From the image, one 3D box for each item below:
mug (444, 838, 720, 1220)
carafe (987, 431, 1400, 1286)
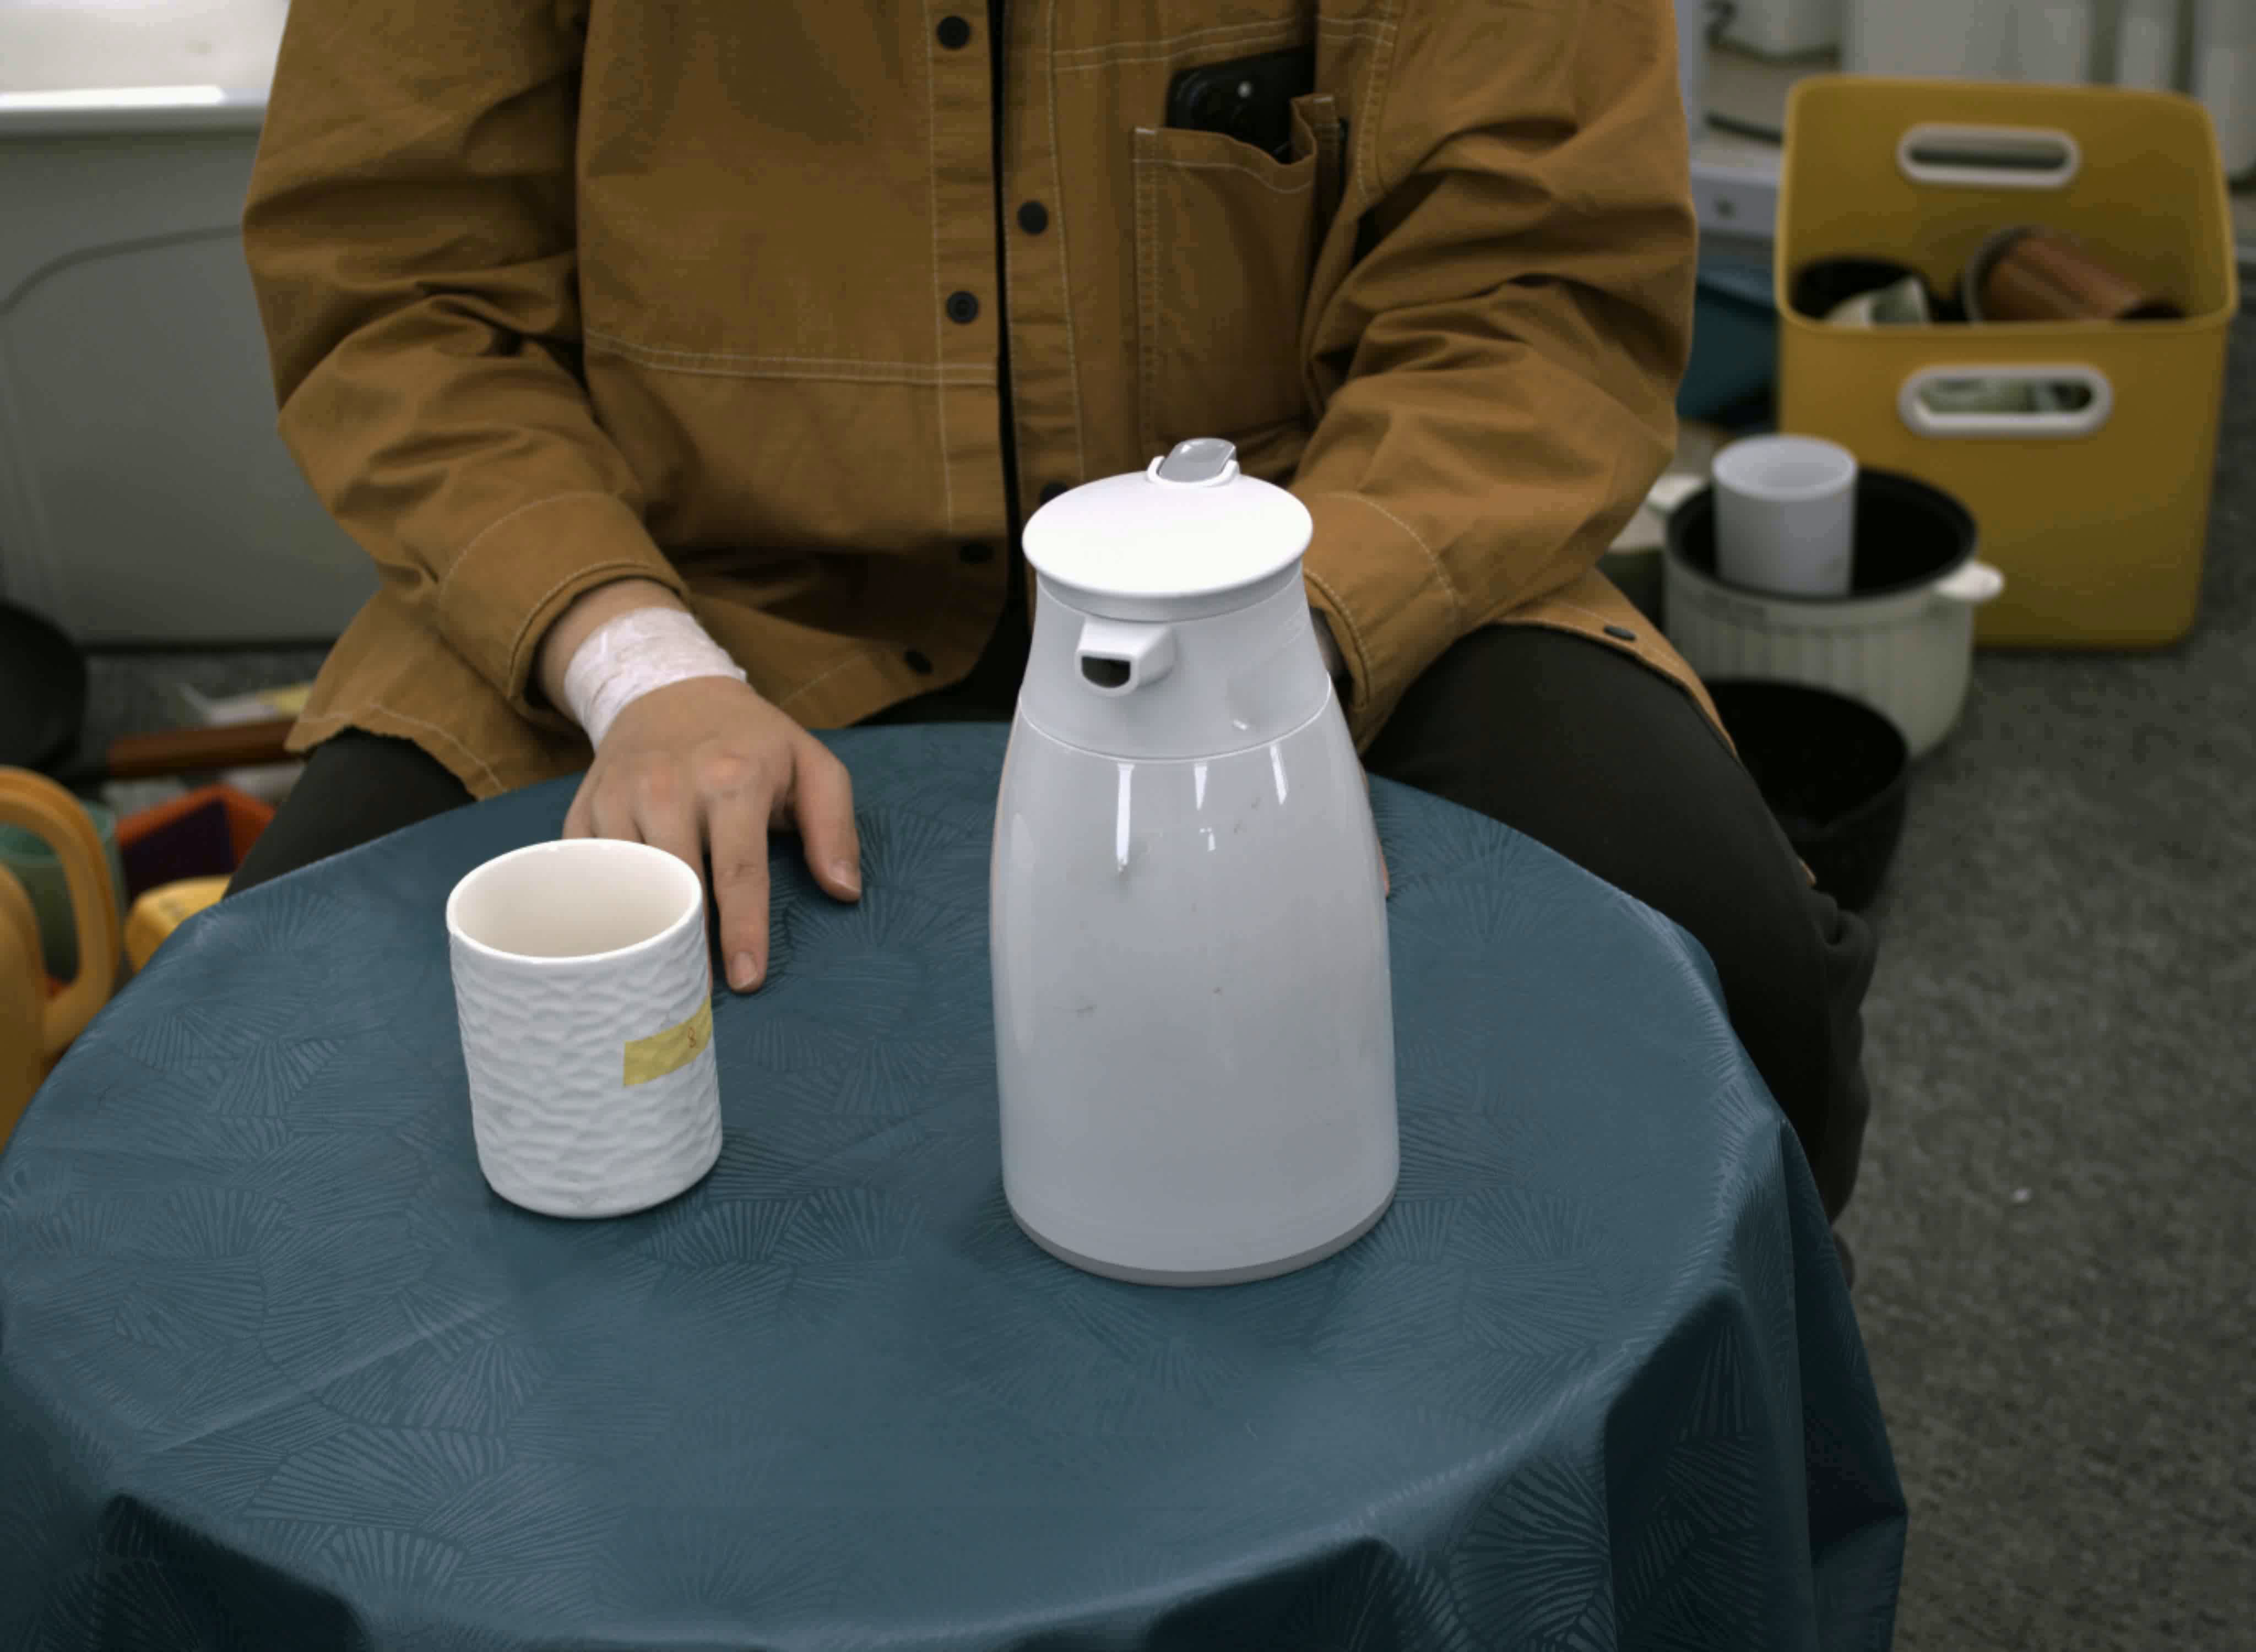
[{"bbox_3d":[-0.189,0.063,1.882,0.085,0.101,0.118,-19,30,-30],"label":"mug"},{"bbox_3d":[0.022,0.000,1.826,0.131,0.246,0.170,4,27,17],"label":"carafe"}]
